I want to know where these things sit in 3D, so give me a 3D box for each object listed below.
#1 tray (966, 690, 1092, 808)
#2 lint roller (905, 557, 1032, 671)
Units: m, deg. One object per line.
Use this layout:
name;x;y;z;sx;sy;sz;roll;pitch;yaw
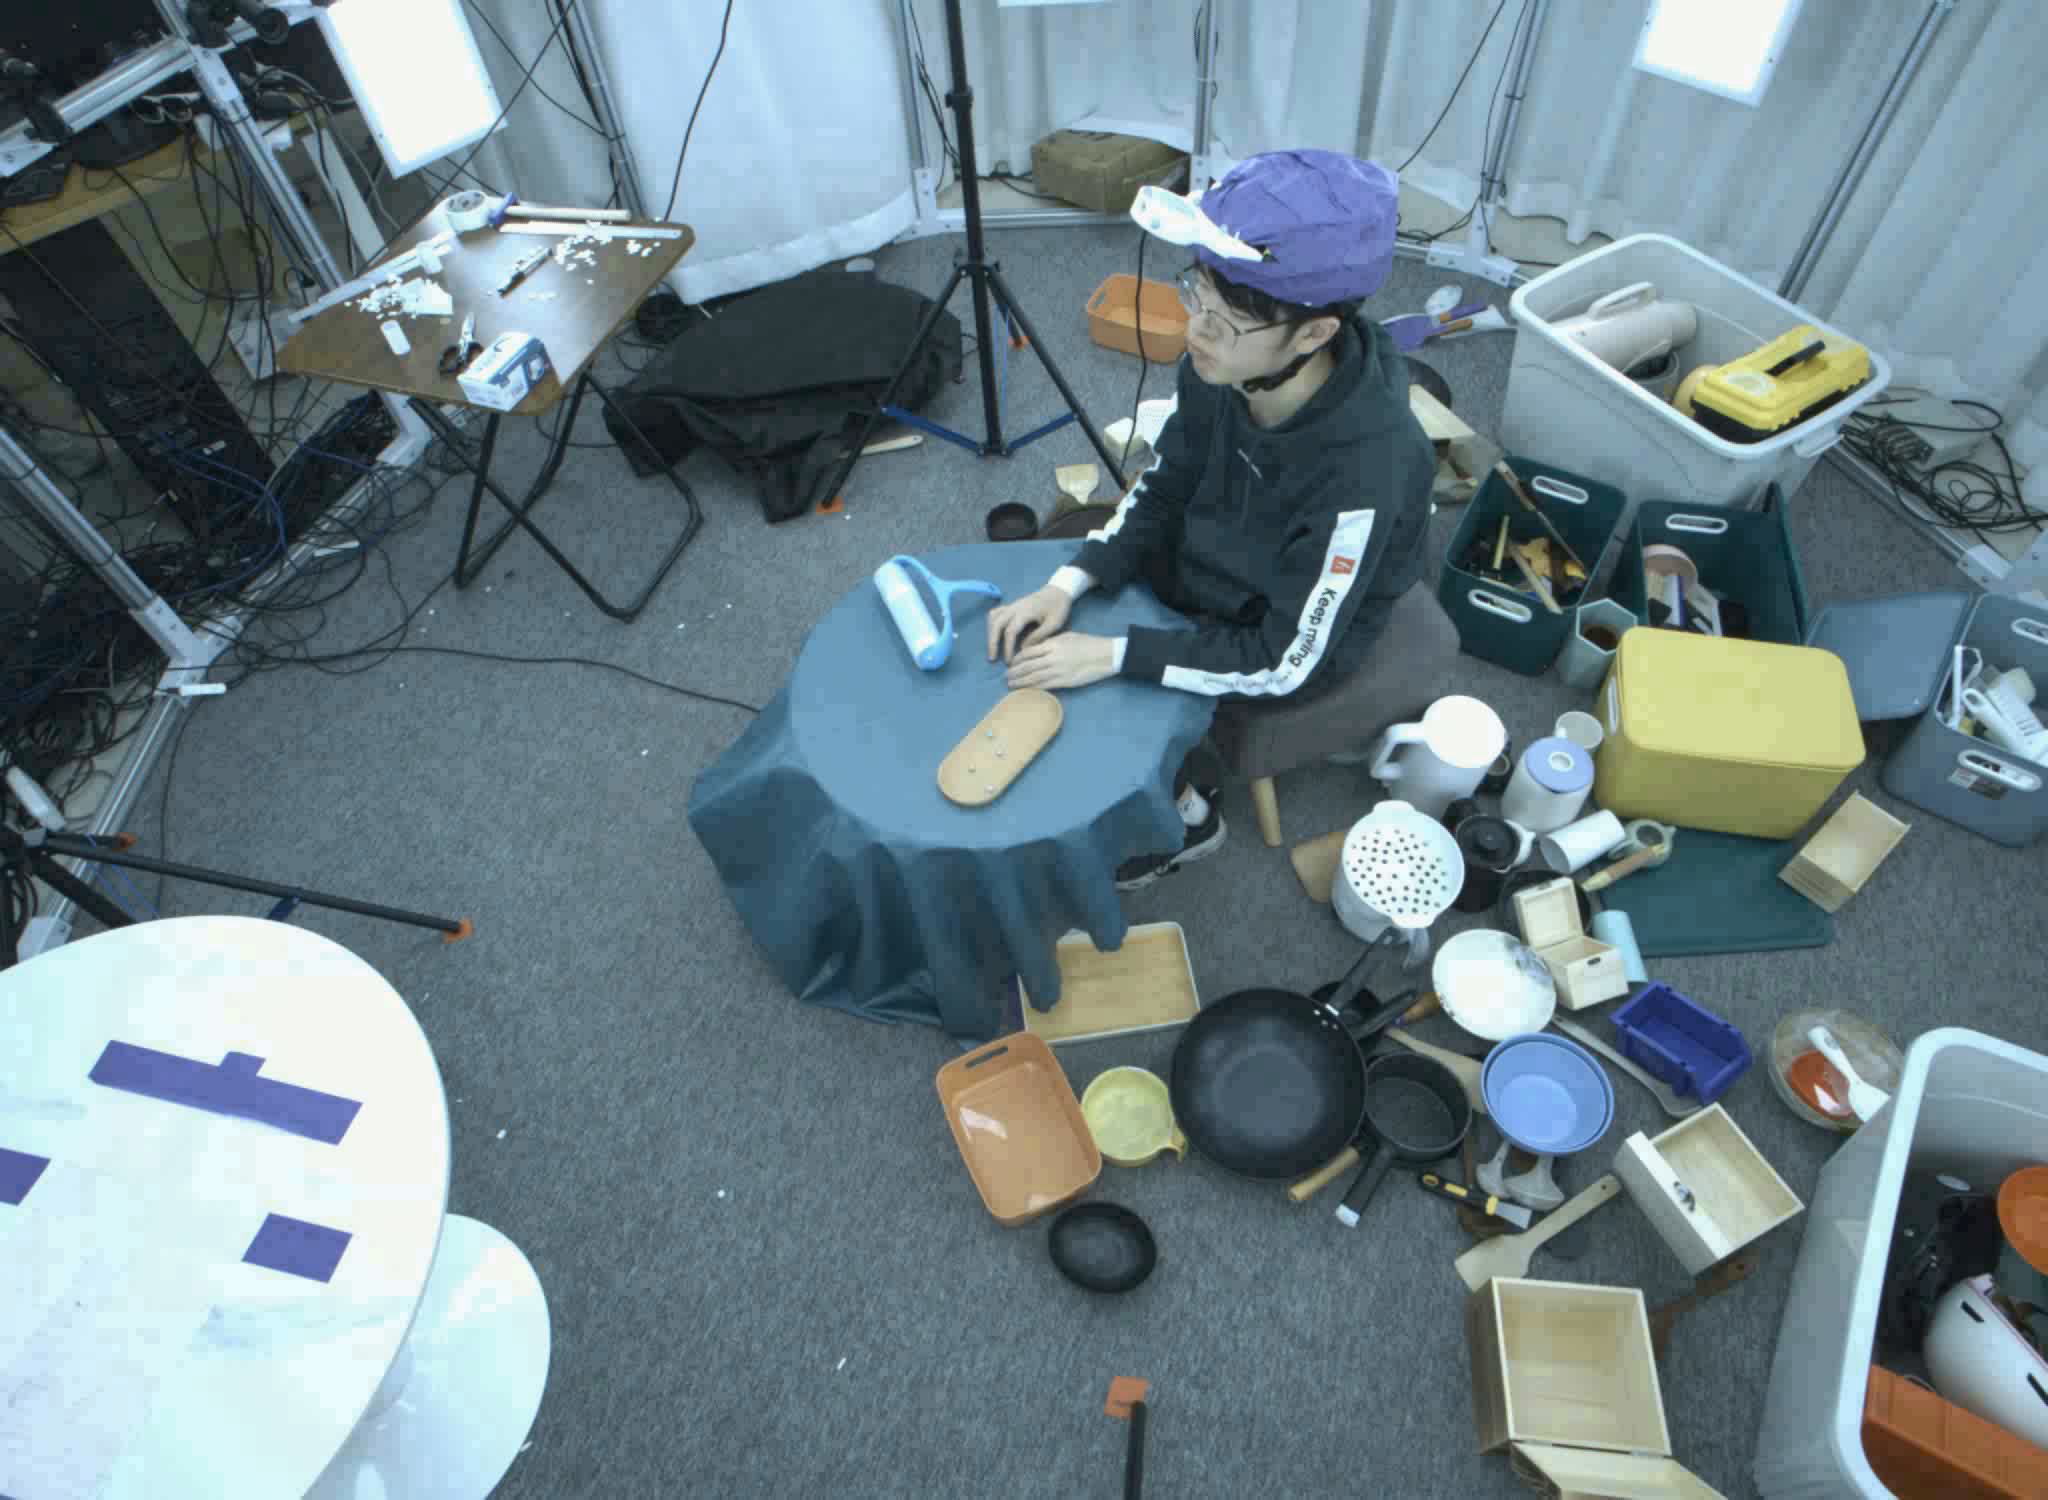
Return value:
tray;0.009;-0.003;1.775;0.100;0.020;0.232;32;60;21
lint roller;-0.076;-0.232;1.915;0.181;0.069;0.224;-22;55;-12
